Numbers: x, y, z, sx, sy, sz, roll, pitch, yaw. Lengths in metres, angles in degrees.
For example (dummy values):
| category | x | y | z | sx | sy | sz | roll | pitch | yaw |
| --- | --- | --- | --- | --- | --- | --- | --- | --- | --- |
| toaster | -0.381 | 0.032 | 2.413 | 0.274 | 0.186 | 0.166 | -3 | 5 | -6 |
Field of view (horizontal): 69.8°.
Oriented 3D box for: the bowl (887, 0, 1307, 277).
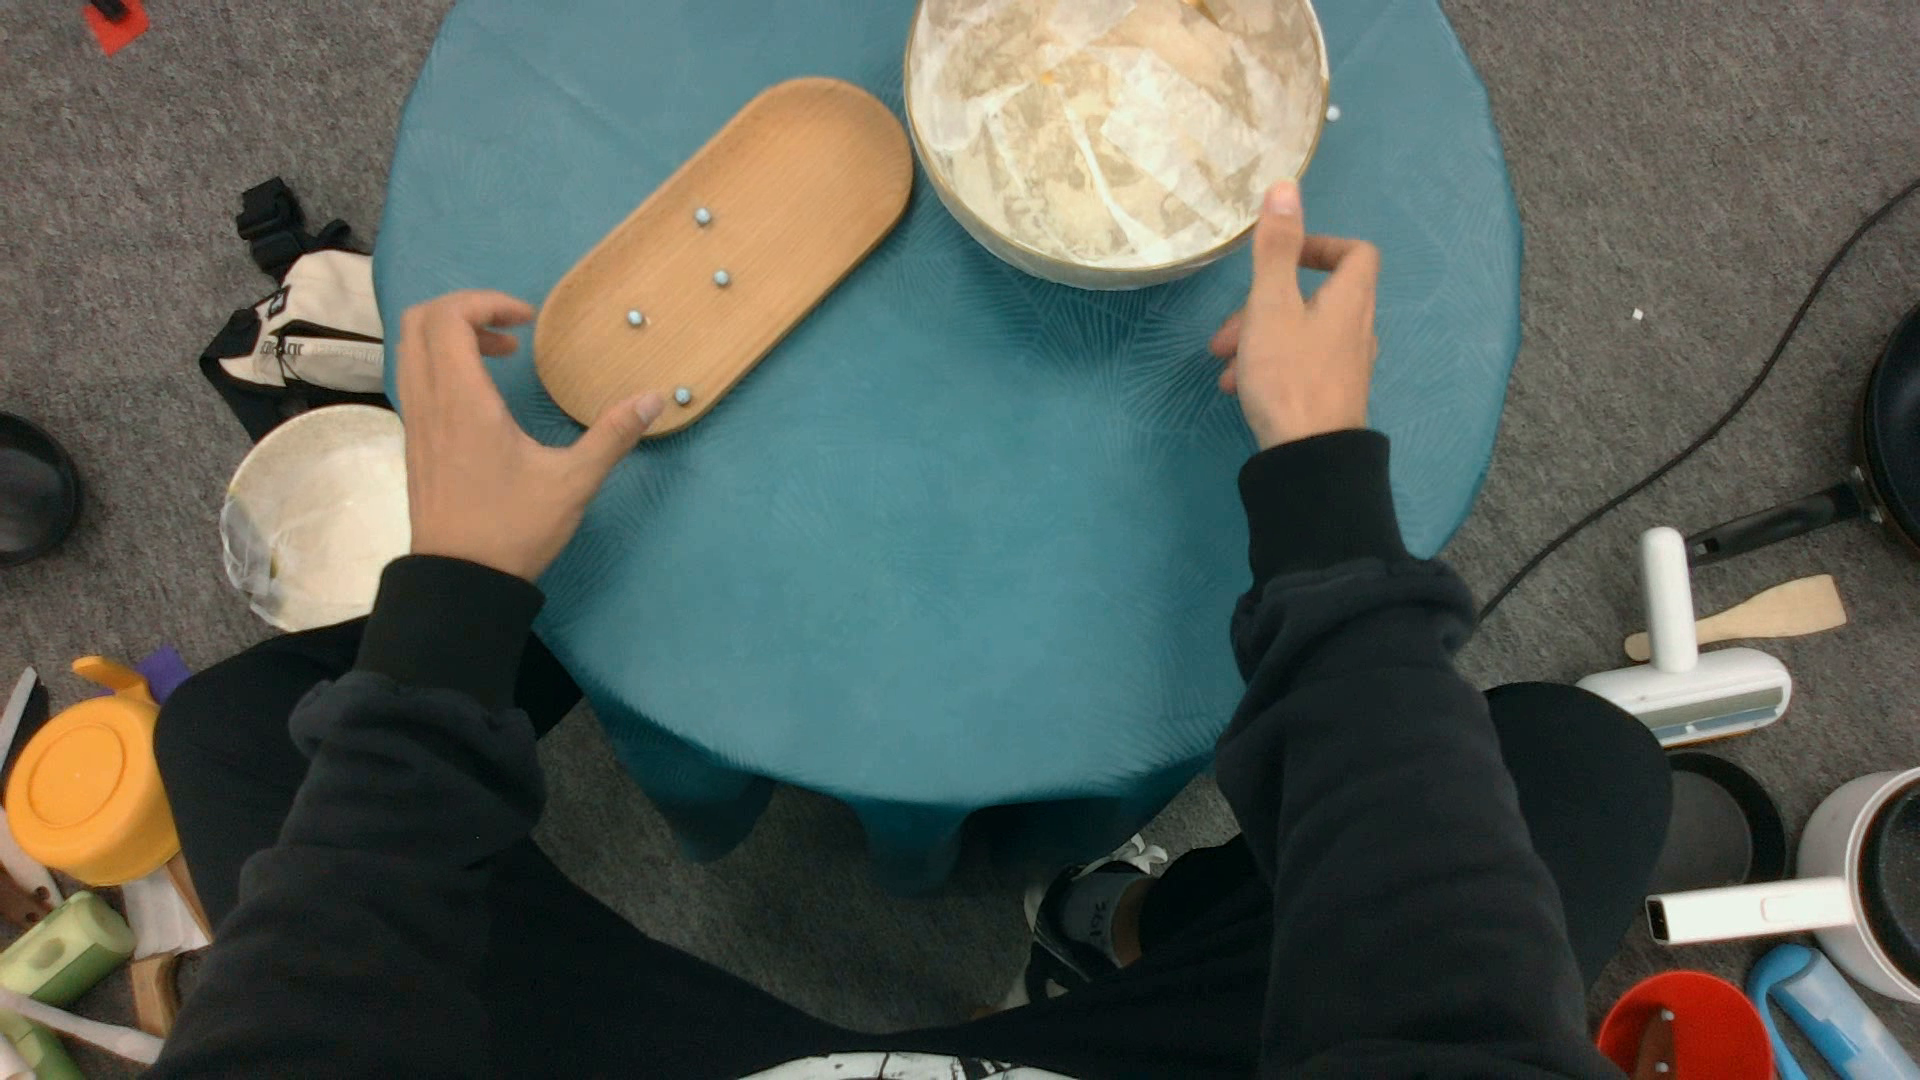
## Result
| category | x | y | z | sx | sy | sz | roll | pitch | yaw |
| --- | --- | --- | --- | --- | --- | --- | --- | --- | --- |
| bowl | 0.060 | -0.217 | 0.695 | 0.215 | 0.094 | 0.215 | 1 | 79 | -4 |

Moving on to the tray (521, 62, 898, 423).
| category | x | y | z | sx | sy | sz | roll | pitch | yaw |
| --- | --- | --- | --- | --- | --- | --- | --- | --- | --- |
| tray | -0.127 | -0.155 | 0.713 | 0.101 | 0.020 | 0.231 | 42 | 78 | 4 |
